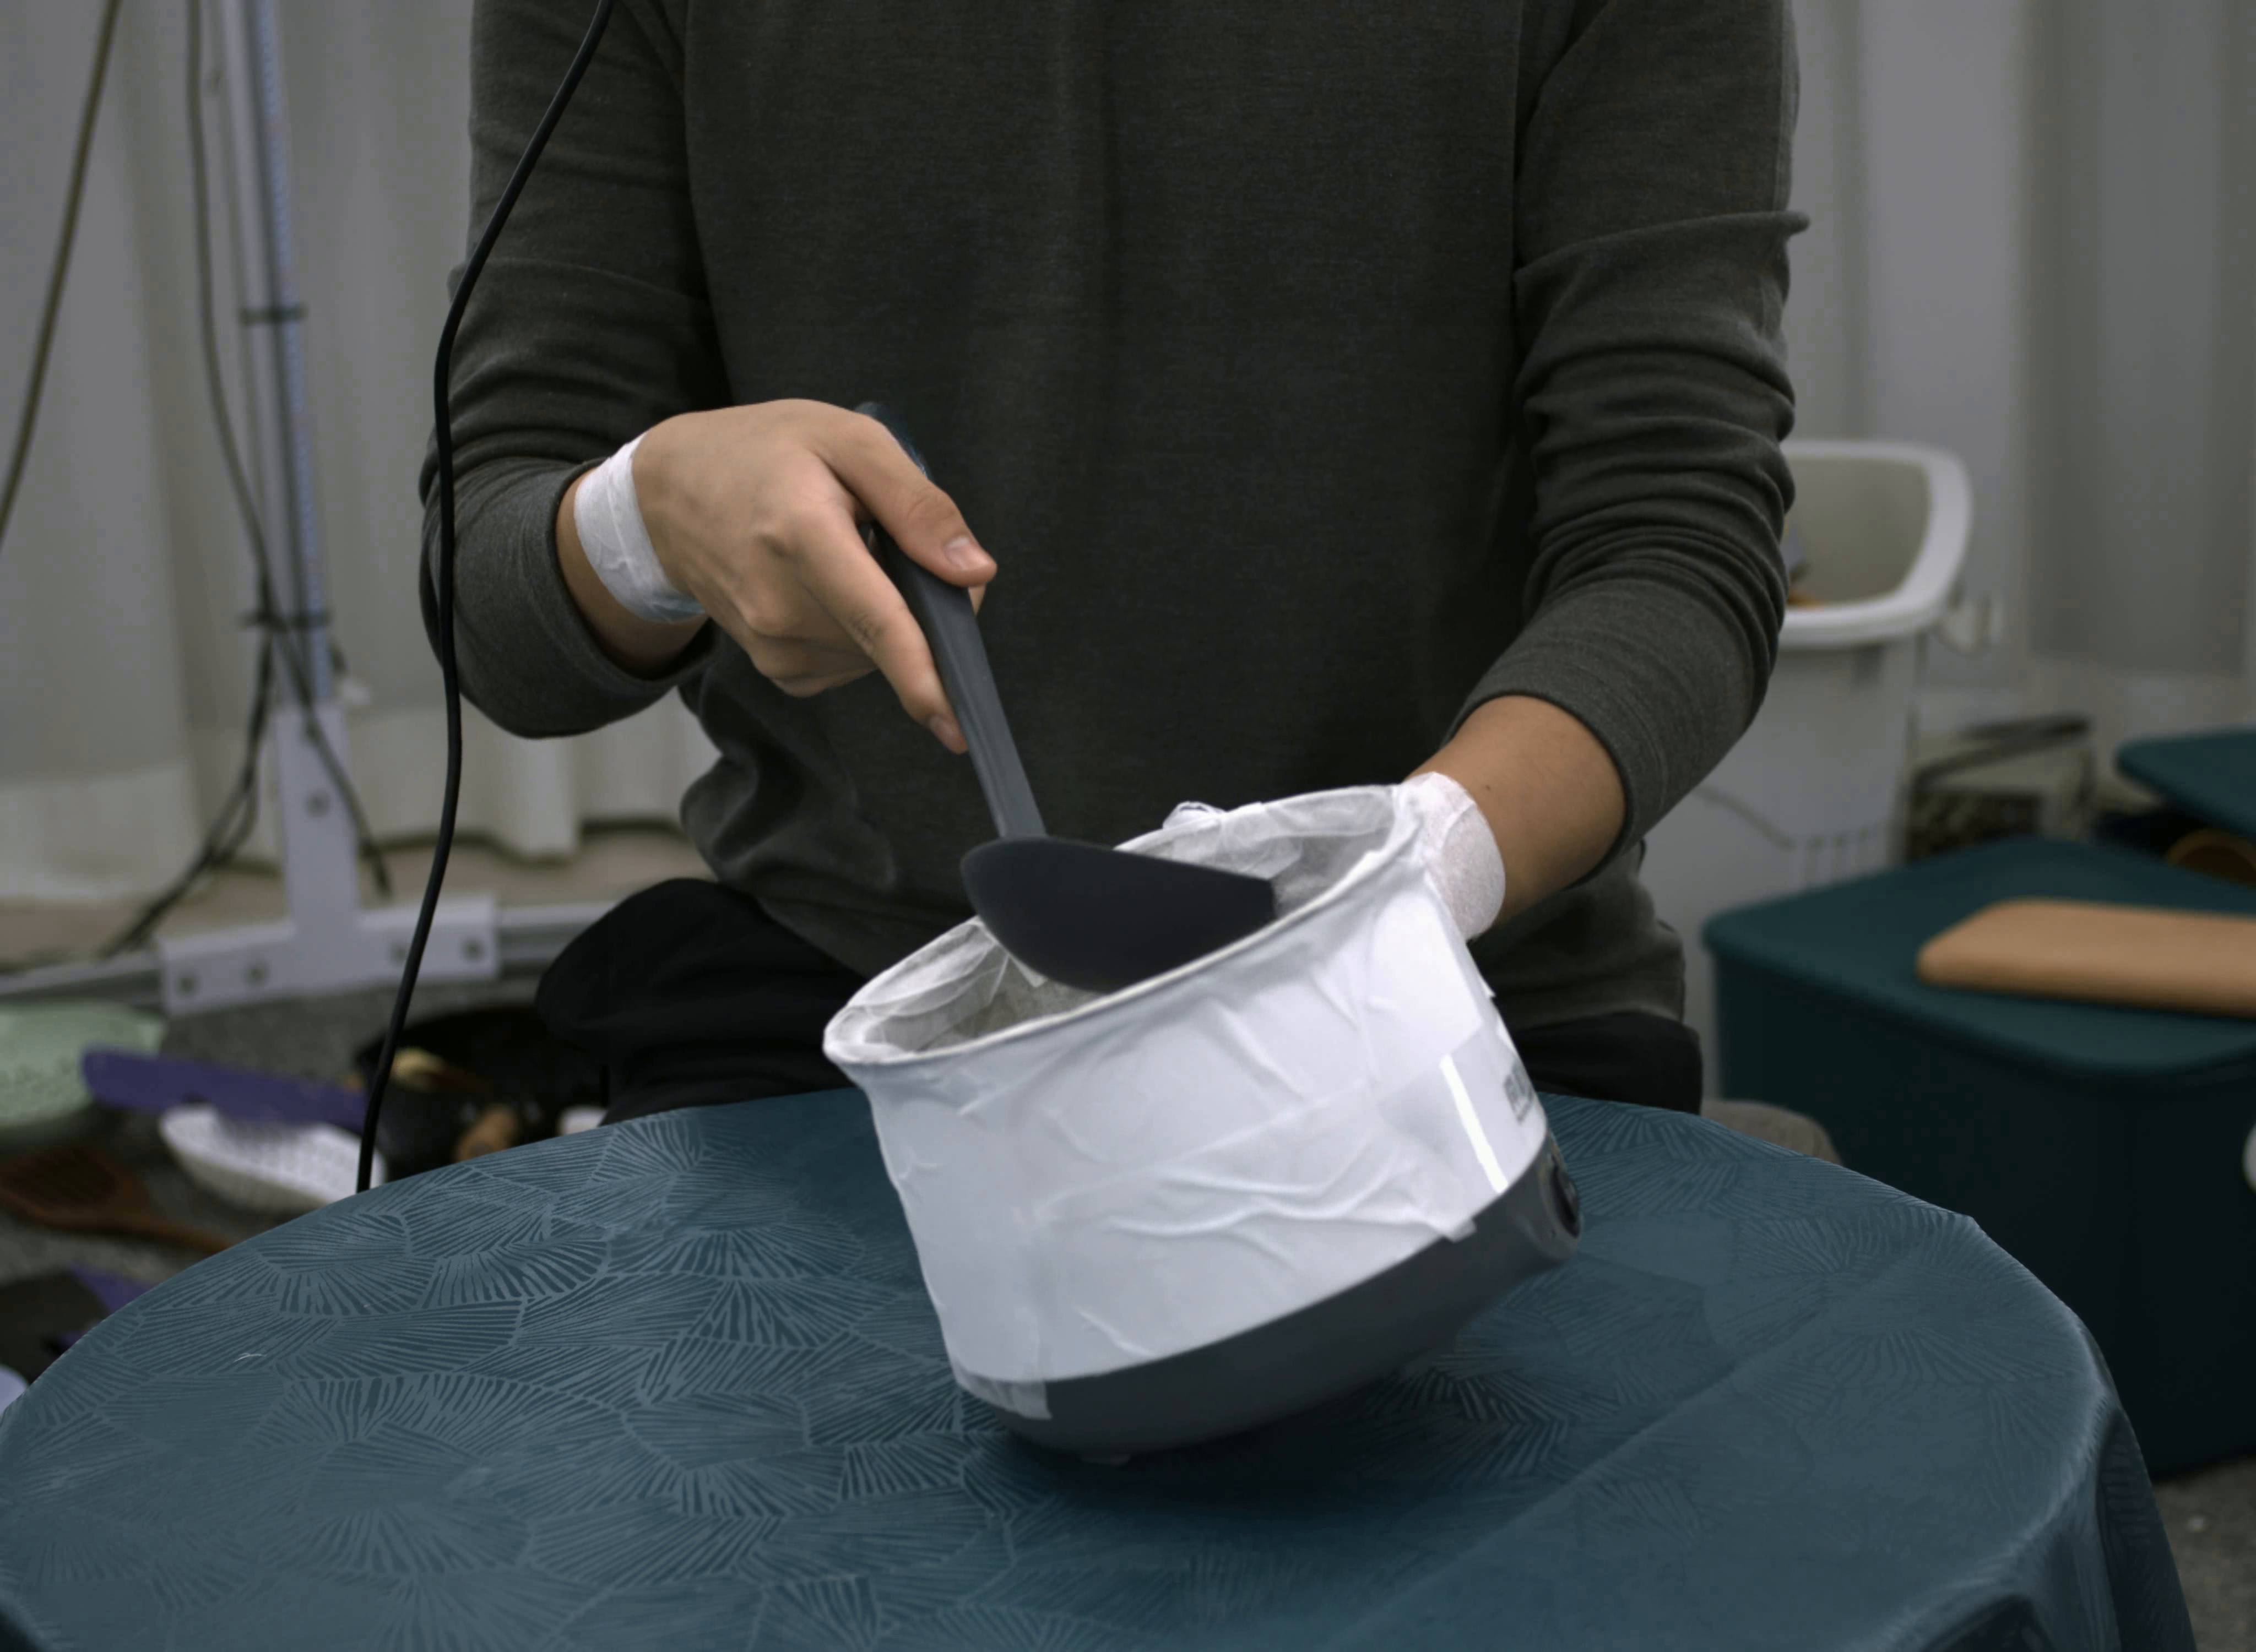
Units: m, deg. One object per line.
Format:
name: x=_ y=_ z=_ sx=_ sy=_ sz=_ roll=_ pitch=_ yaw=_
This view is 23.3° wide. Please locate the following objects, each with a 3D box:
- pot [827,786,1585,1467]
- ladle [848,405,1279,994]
pot: x=0.027 y=0.076 z=1.530 sx=0.178 sy=0.136 sz=0.235 roll=-18 pitch=11 yaw=15
ladle: x=-0.035 y=-0.054 z=1.590 sx=0.085 sy=0.063 sz=0.319 roll=12 pitch=31 yaw=-25
